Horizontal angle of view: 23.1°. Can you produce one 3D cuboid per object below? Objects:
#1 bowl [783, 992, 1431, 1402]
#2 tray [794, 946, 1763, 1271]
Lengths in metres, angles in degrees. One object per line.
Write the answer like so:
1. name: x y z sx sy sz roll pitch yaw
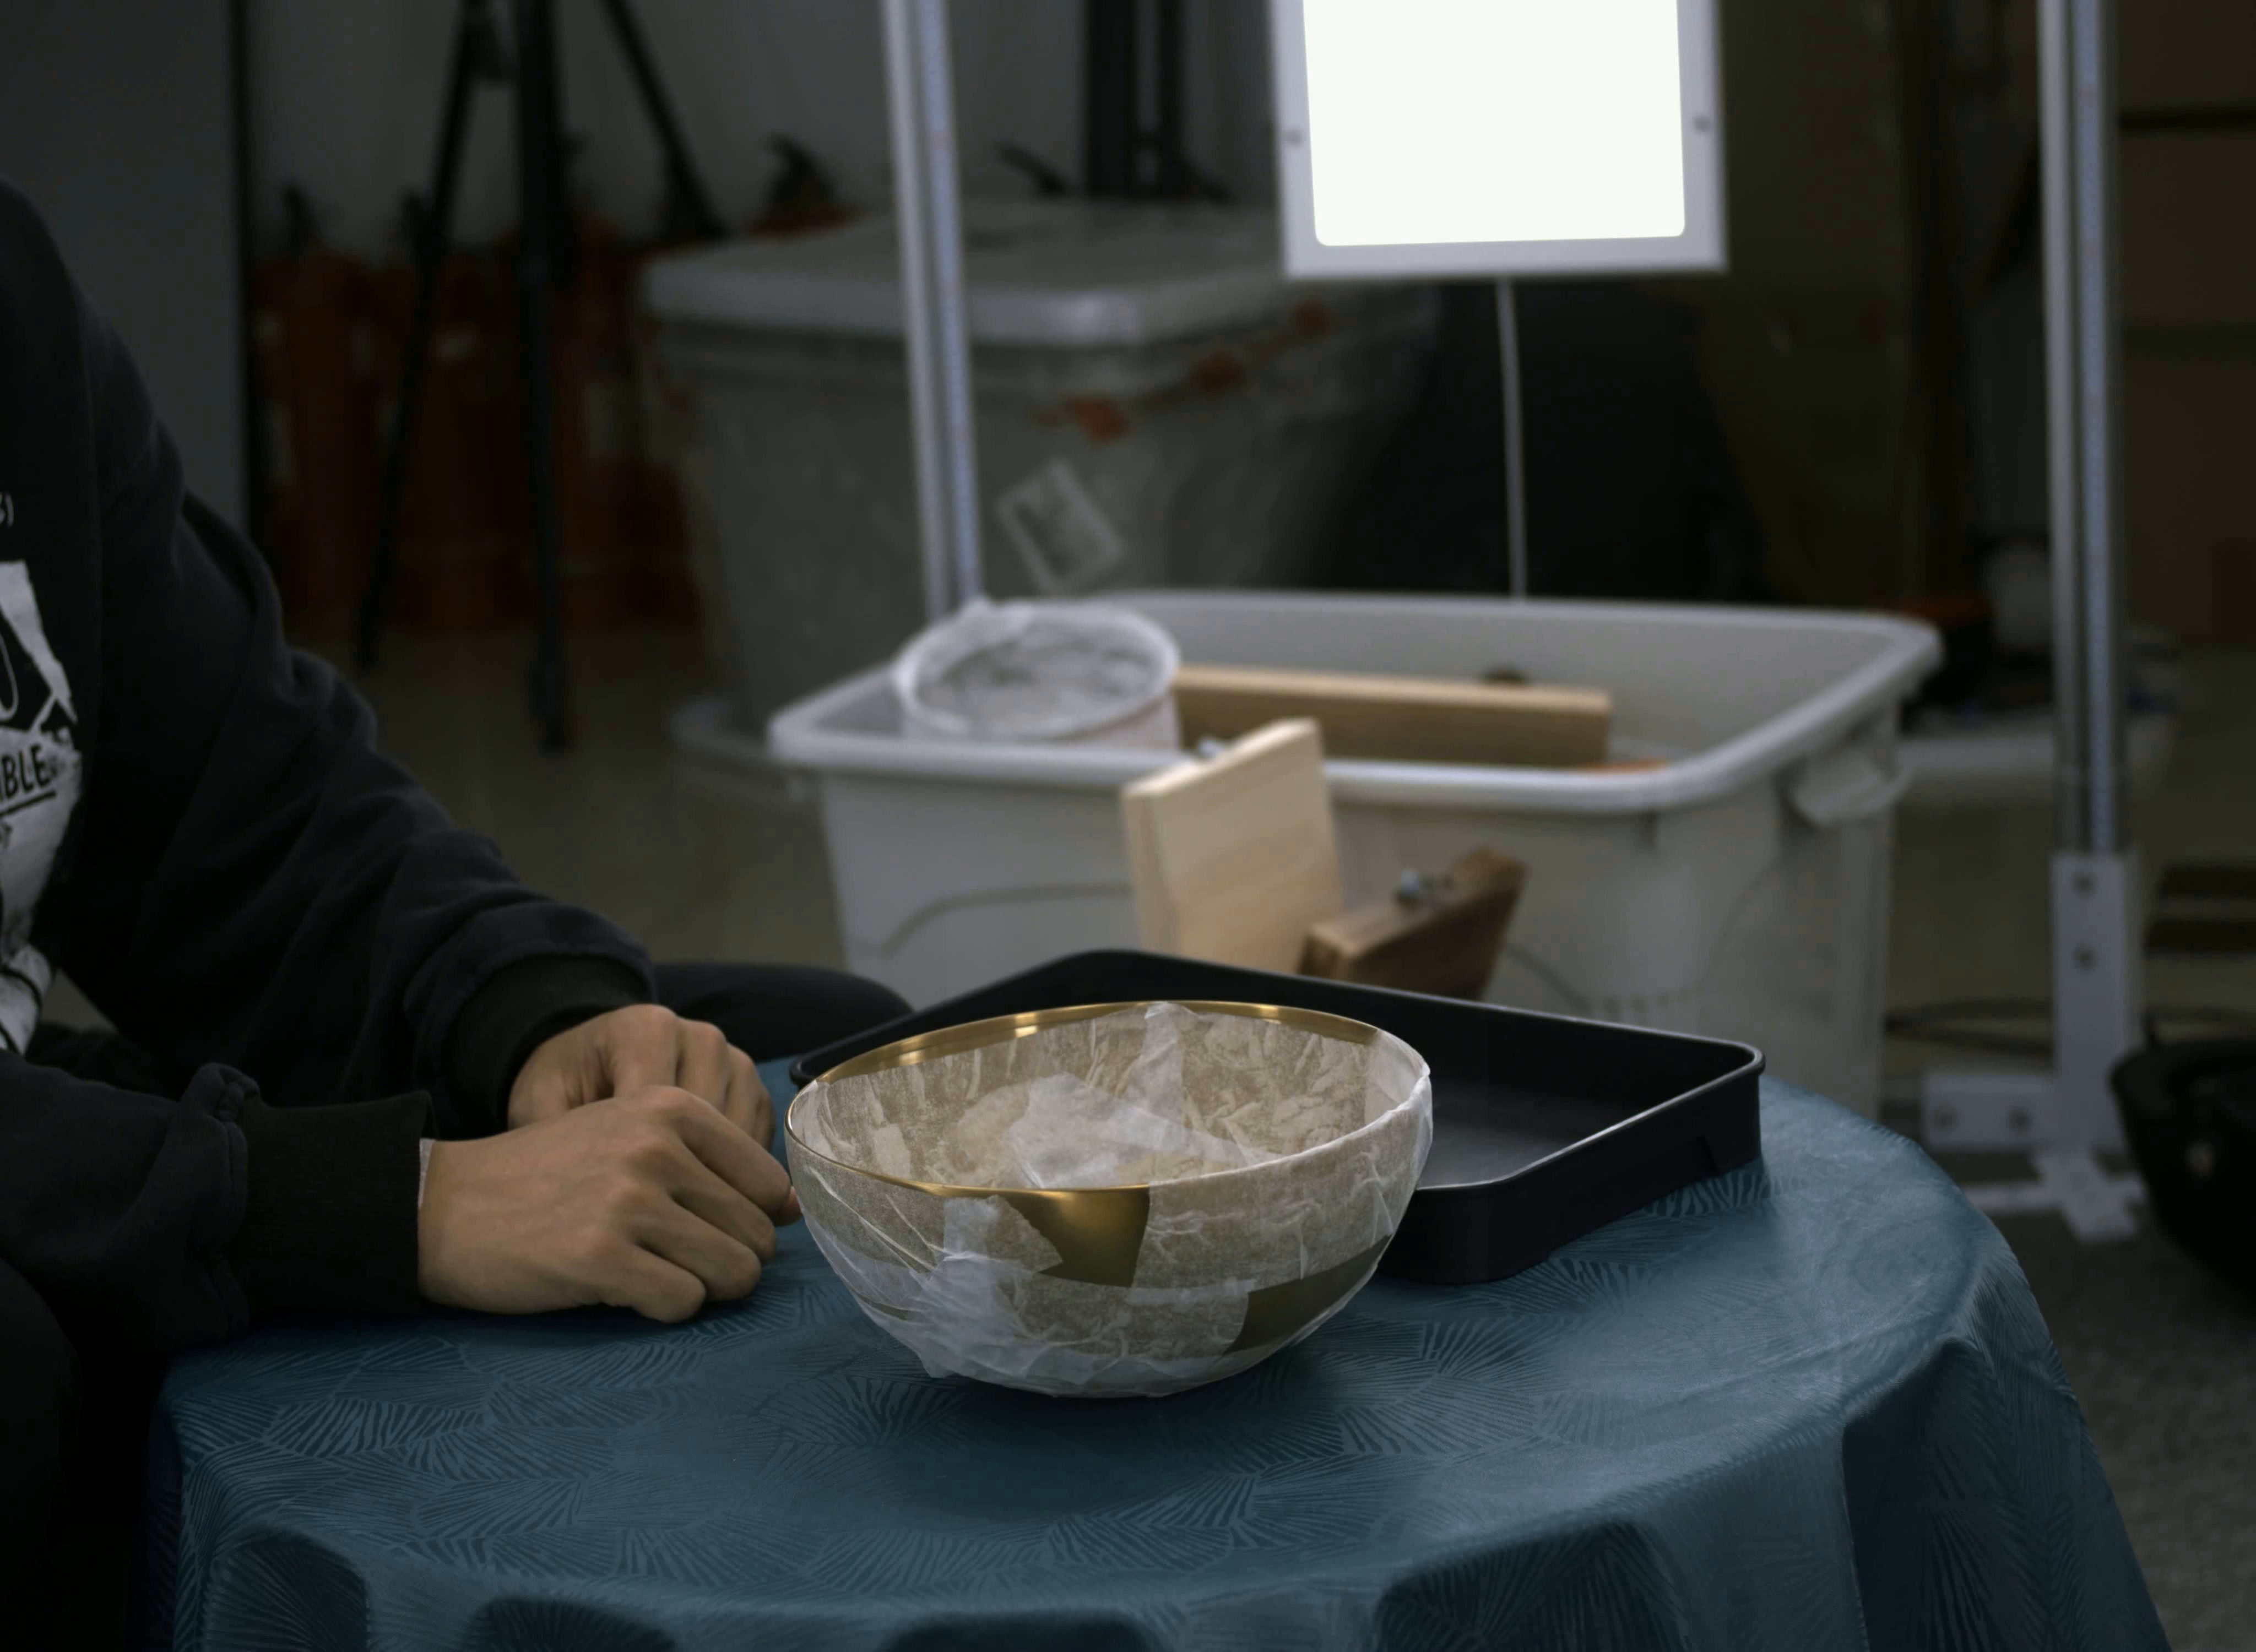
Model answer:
1. bowl: -0.006 0.123 1.719 0.214 0.095 0.214 -6 15 0
2. tray: 0.051 0.095 1.921 0.325 0.037 0.179 6 19 43
